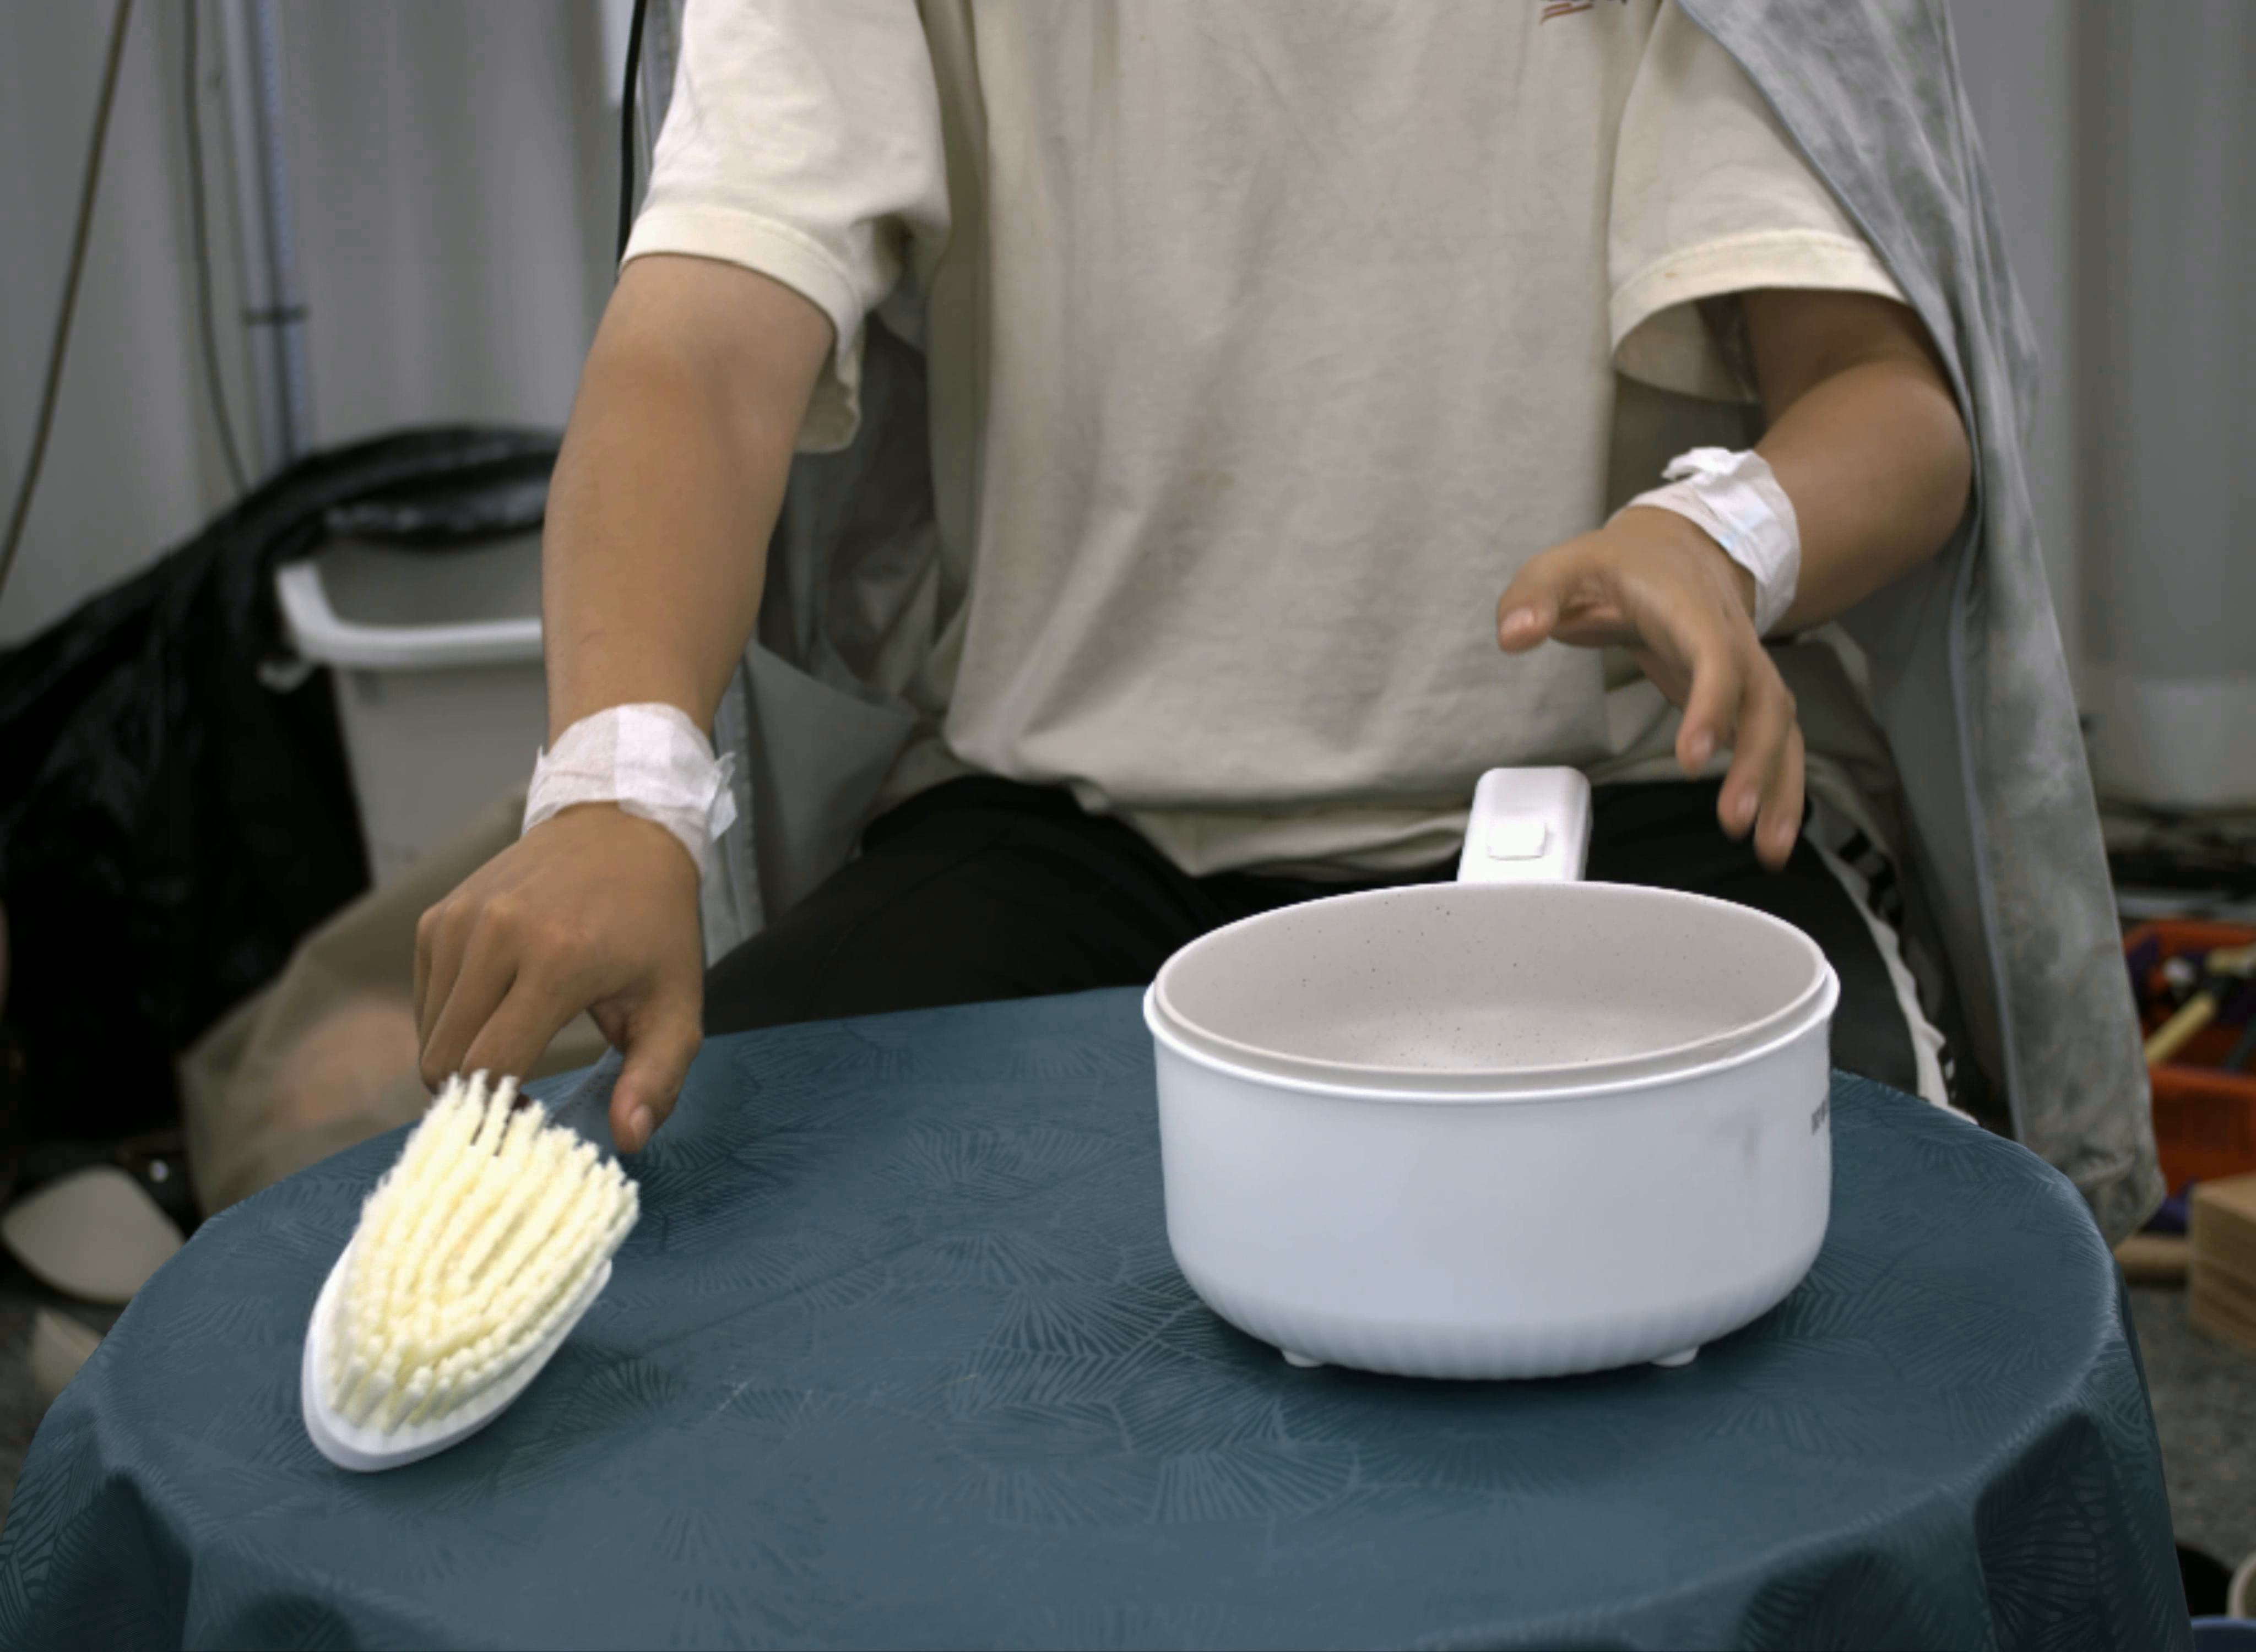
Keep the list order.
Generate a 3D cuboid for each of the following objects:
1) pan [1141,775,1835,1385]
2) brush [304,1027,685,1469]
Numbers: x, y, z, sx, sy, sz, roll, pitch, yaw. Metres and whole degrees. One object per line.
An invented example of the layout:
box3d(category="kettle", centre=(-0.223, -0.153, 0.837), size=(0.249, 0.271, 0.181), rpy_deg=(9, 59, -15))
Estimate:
box3d(category="pan", centre=(0.115, 0.073, 1.668), size=(0.201, 0.102, 0.357), rpy_deg=(-2, 14, 7))
box3d(category="brush", centre=(-0.172, 0.097, 1.650), size=(0.084, 0.083, 0.327), rpy_deg=(-14, 14, 16))
